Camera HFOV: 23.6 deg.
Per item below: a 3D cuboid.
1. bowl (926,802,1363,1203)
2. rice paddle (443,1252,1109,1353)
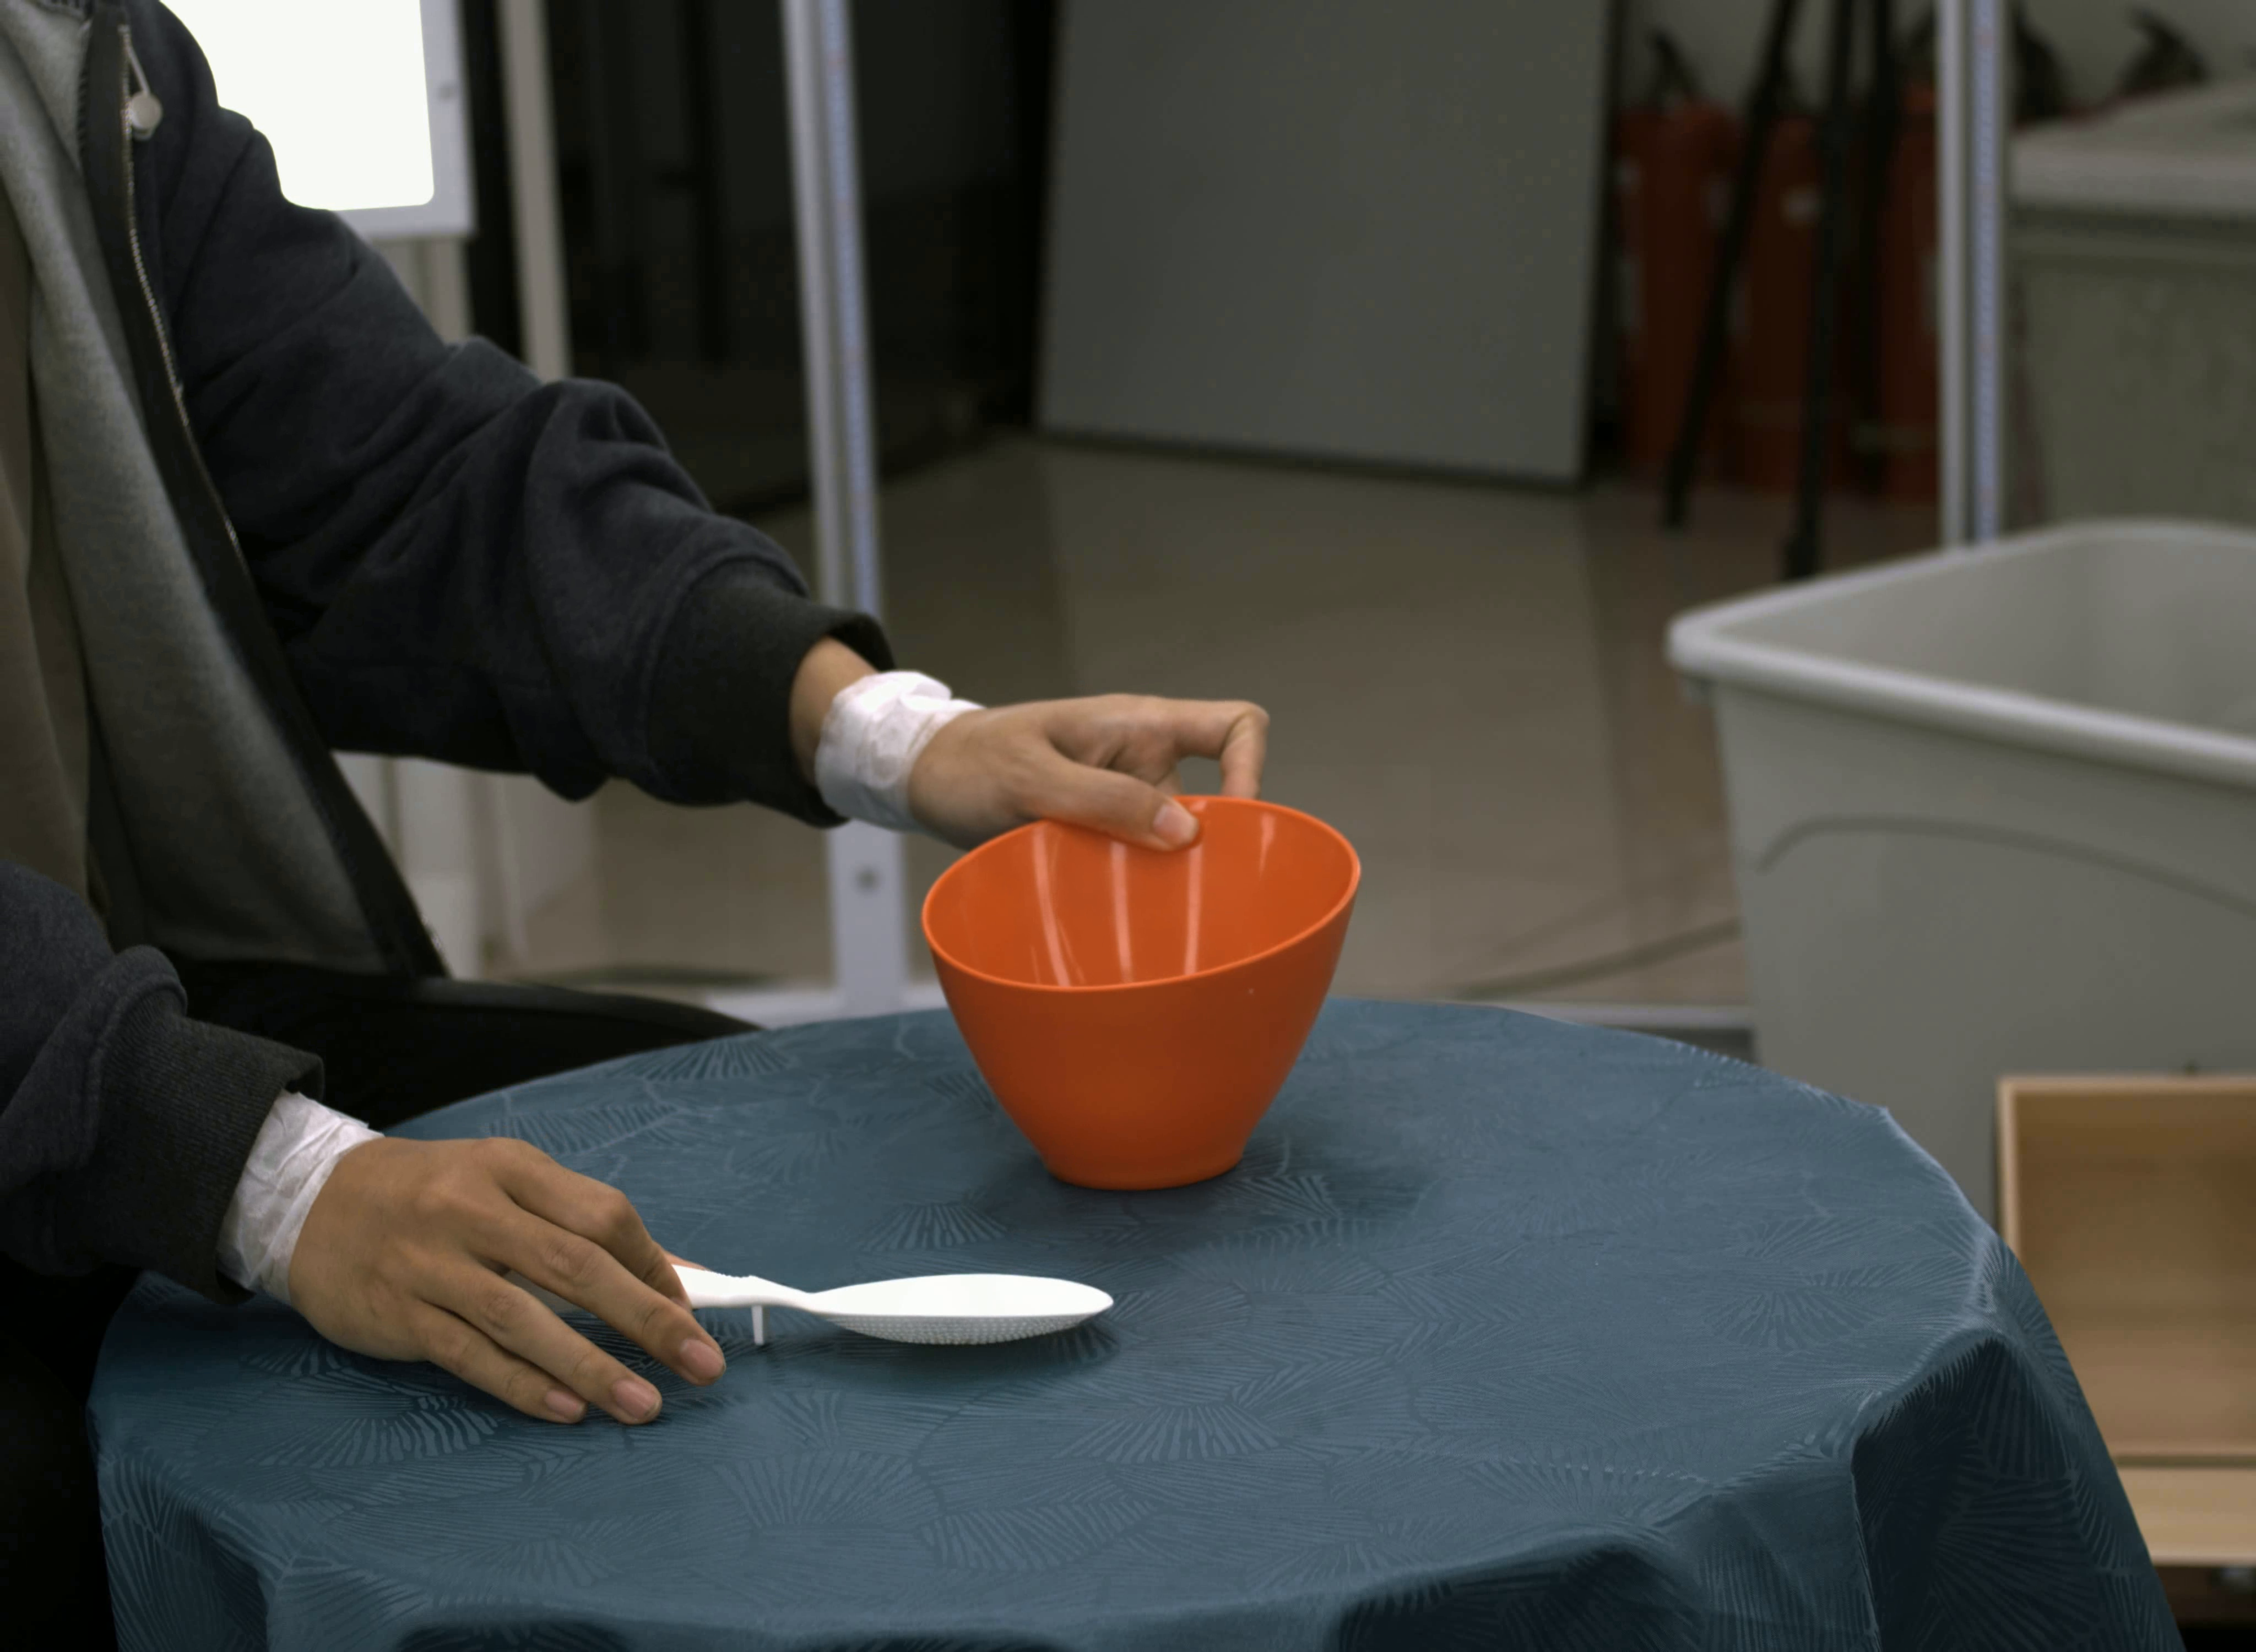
[{"bbox_3d":[0.008,0.062,1.797,0.146,0.106,0.148,-4,15,0],"label":"bowl"},{"bbox_3d":[-0.106,0.143,1.642,0.203,0.030,0.068,-1,6,8],"label":"rice paddle"}]
